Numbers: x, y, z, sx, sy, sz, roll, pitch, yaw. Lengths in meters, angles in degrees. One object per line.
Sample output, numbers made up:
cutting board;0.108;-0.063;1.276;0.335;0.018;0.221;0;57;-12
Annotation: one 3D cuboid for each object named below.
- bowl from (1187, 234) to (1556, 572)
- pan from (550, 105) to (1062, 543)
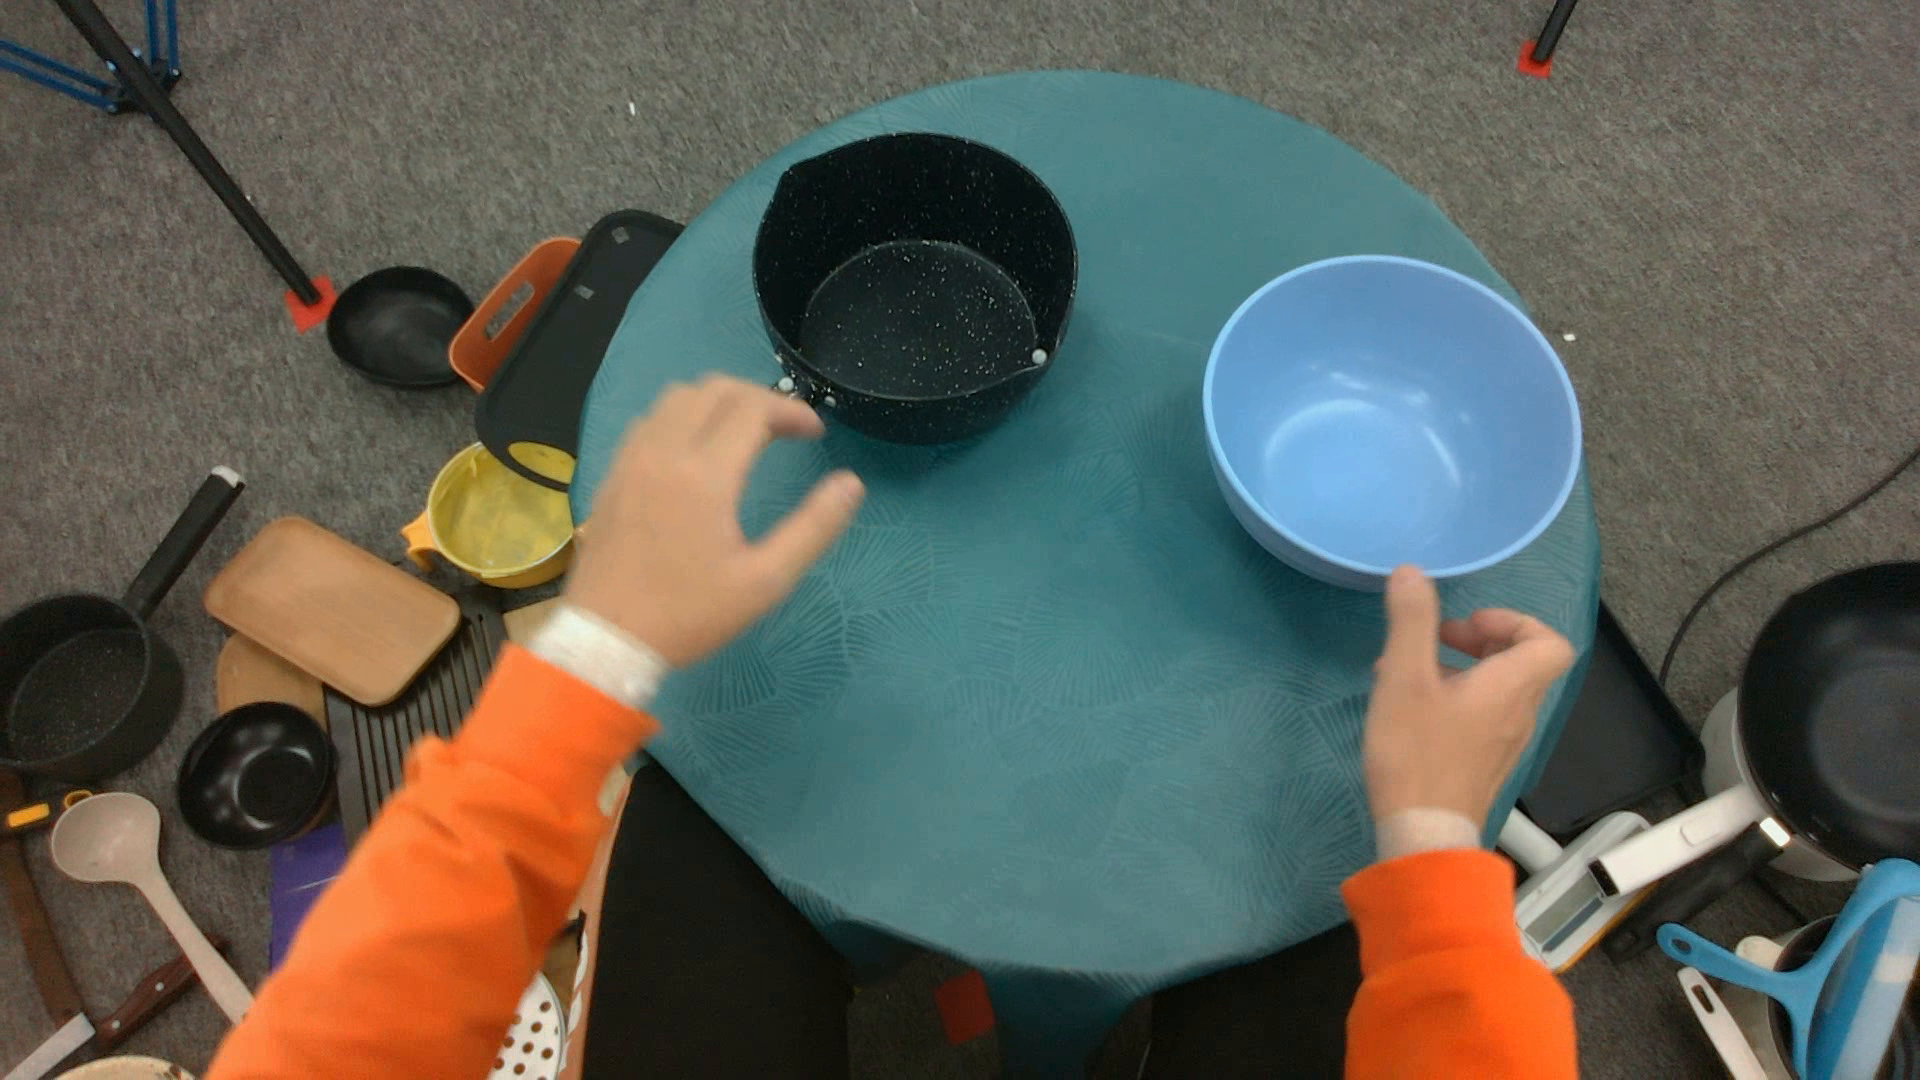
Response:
bowl;0.217;-0.062;0.770;0.196;0.095;0.197;1;66;-2
pan;-0.085;-0.102;0.772;0.207;0.108;0.344;37;69;13
